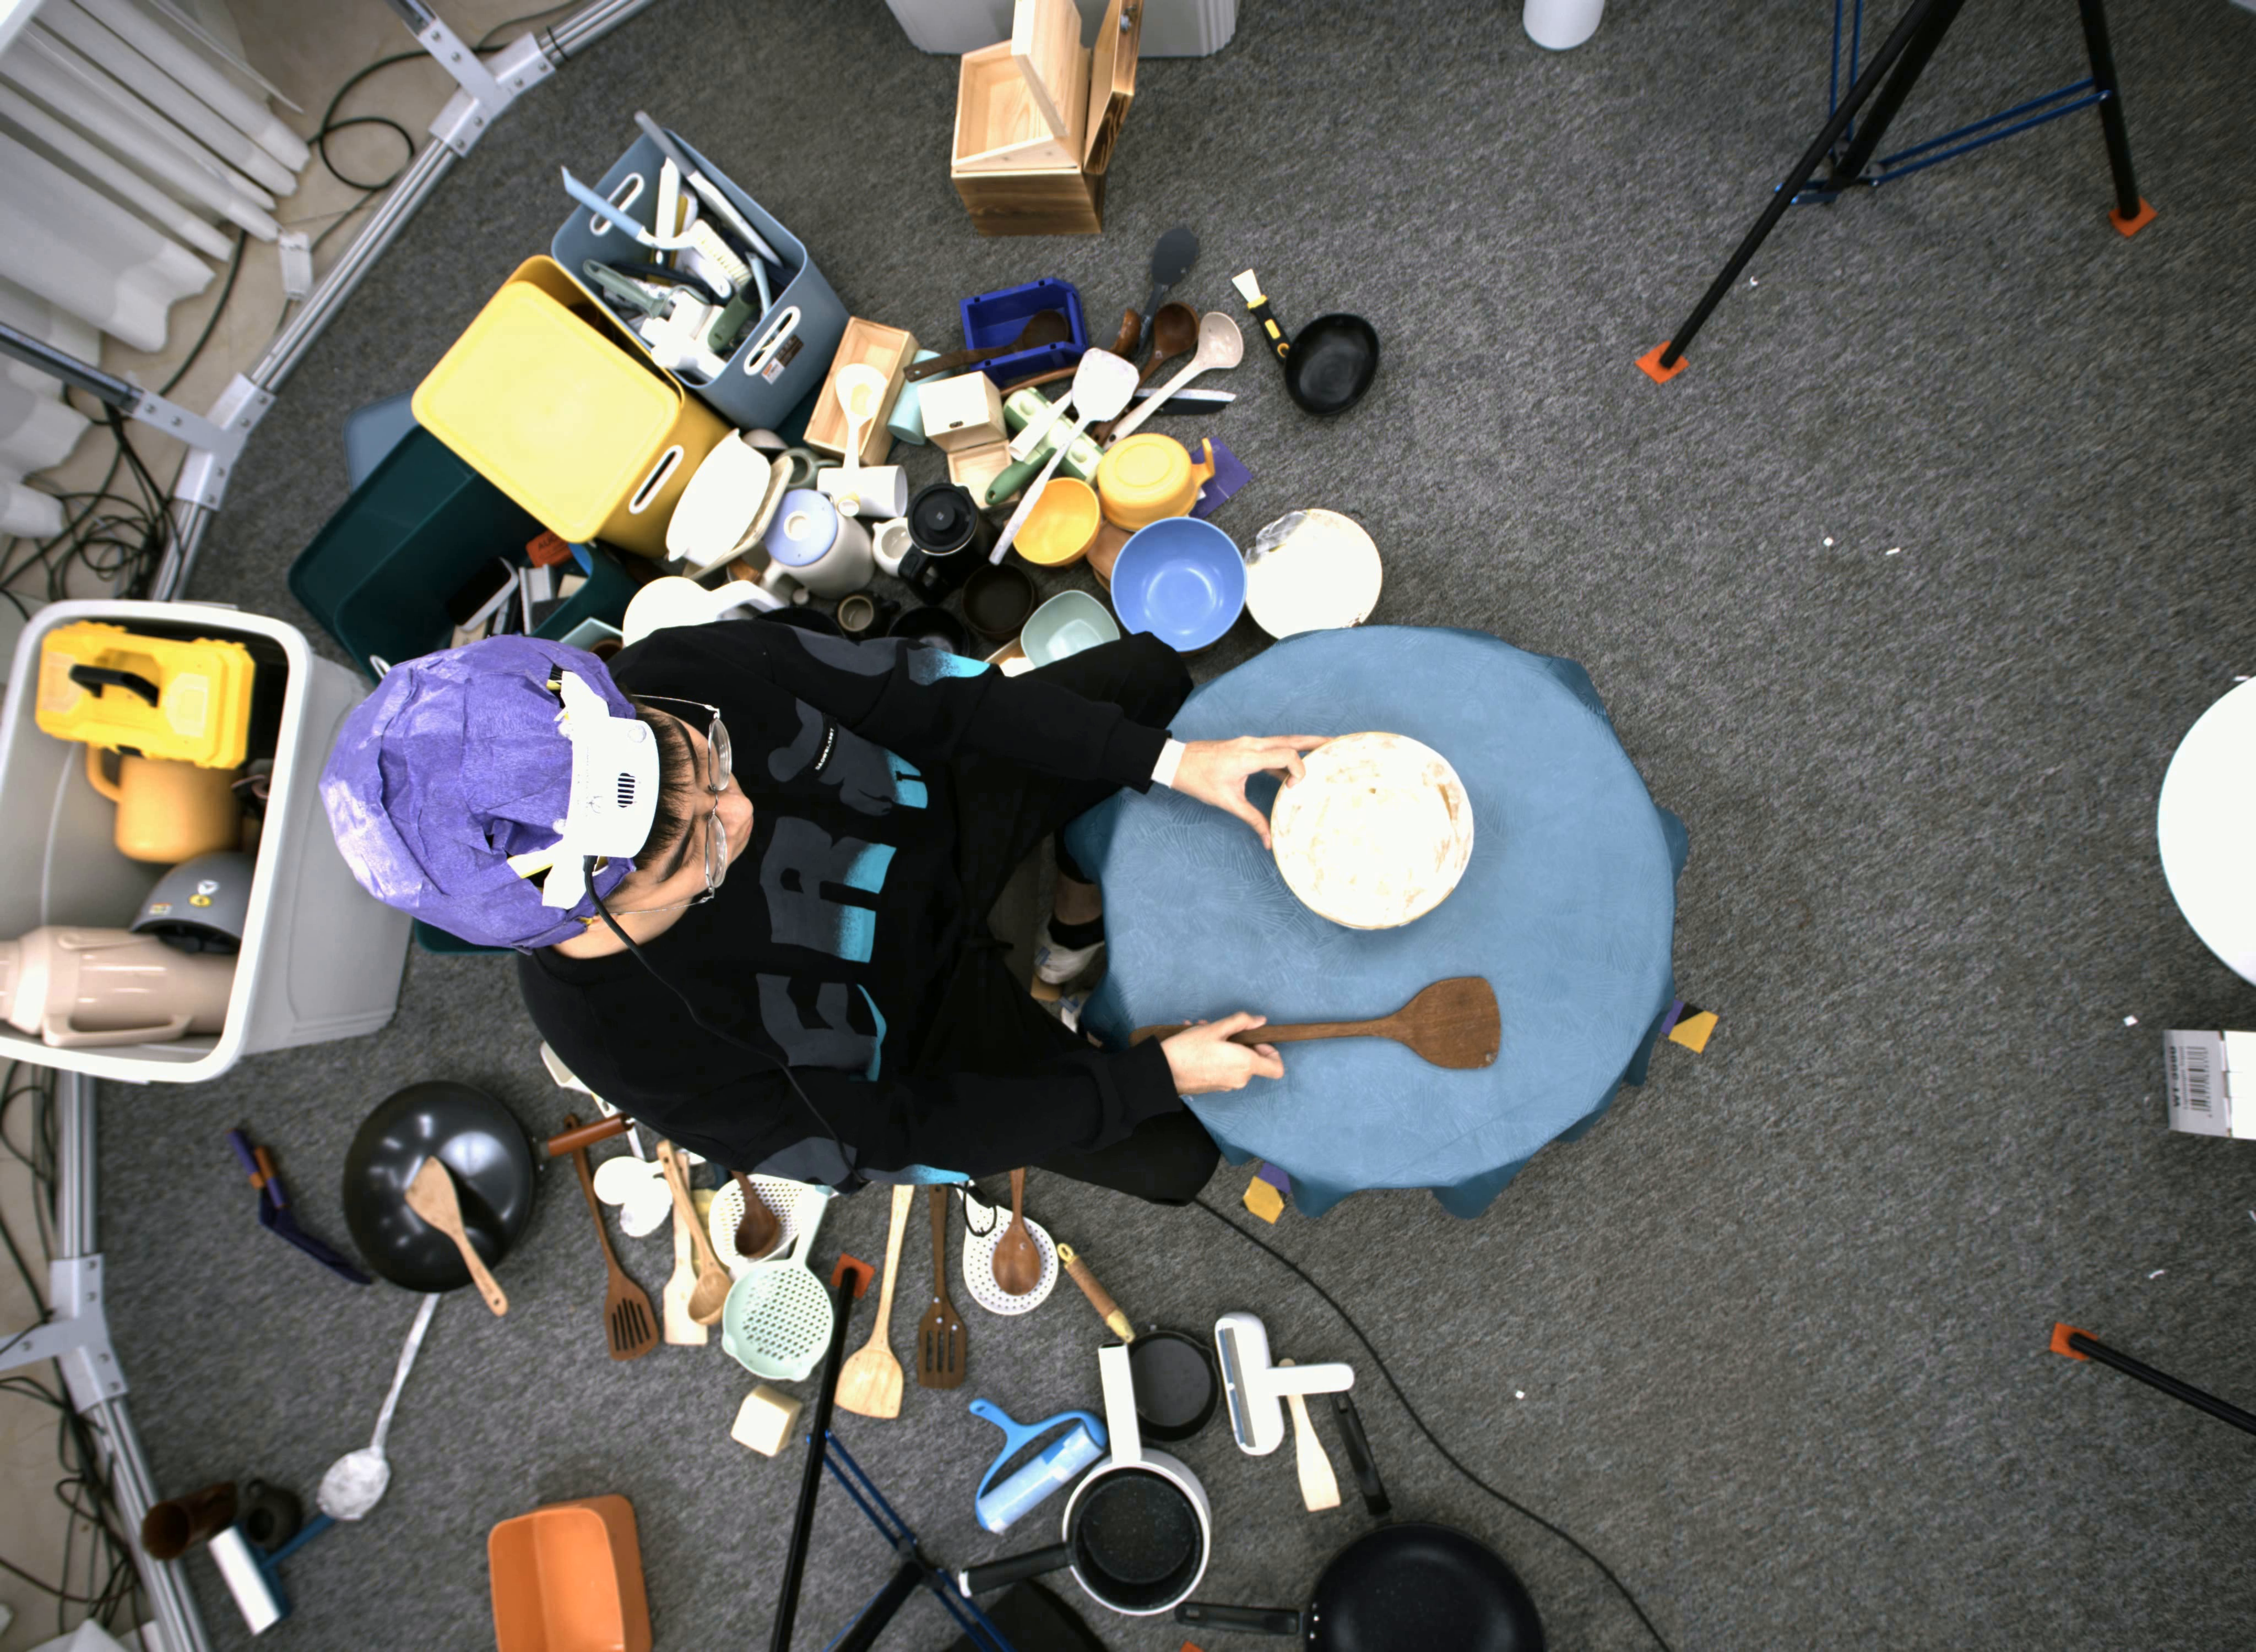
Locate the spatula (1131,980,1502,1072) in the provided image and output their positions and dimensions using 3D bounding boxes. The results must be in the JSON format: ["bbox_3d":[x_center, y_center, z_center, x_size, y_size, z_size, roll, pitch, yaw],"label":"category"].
[{"bbox_3d":[0.196,0.216,1.445,0.387,0.016,0.095,-3,84,3],"label":"spatula"}]

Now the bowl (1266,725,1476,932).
[{"bbox_3d":[0.249,0.007,1.425,0.215,0.094,0.214,-1,87,10],"label":"bowl"}]
